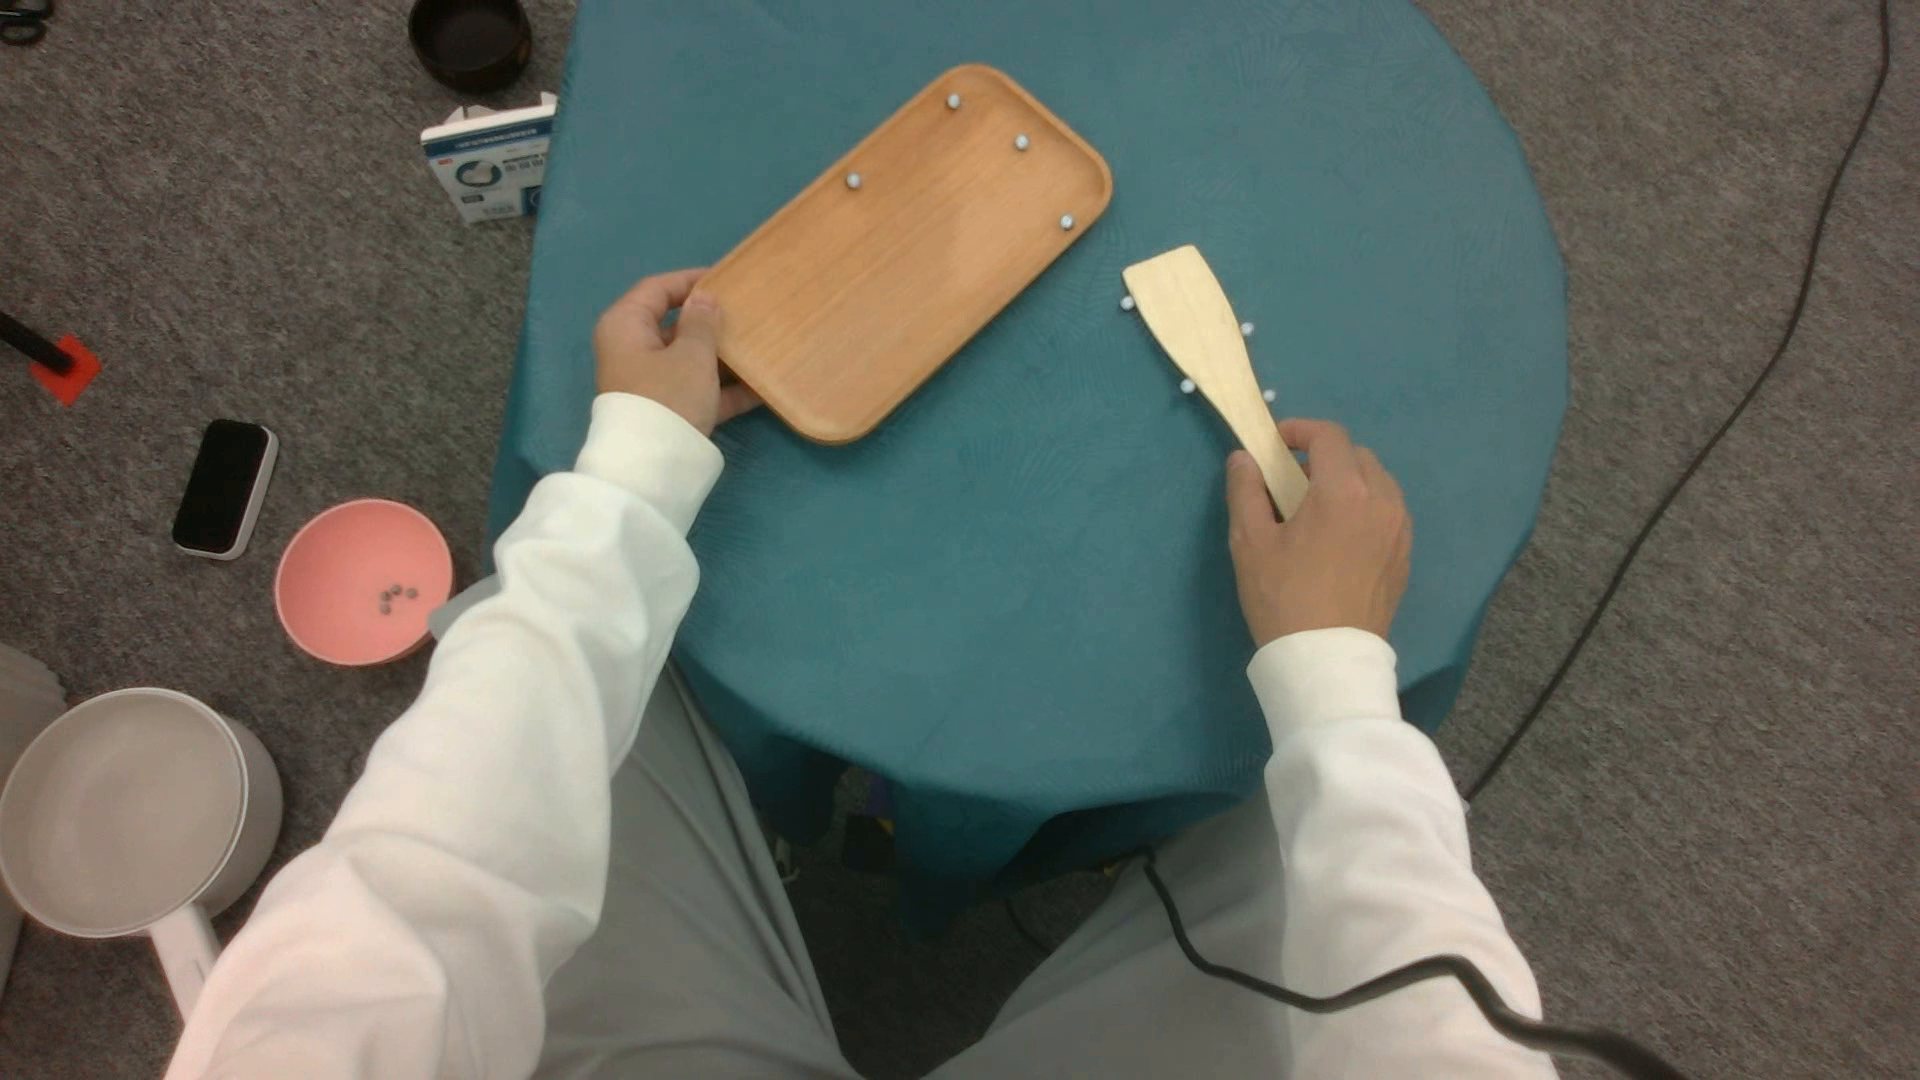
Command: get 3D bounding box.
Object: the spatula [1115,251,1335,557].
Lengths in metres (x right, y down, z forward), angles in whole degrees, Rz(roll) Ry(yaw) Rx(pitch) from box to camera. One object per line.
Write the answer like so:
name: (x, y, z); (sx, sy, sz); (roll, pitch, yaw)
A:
spatula: (0.153, -0.079, 0.779); (0.050, 0.005, 0.208); (-23, 66, -7)

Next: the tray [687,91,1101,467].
tray: (-0.034, -0.155, 0.793); (0.130, 0.023, 0.251); (39, 71, 12)
